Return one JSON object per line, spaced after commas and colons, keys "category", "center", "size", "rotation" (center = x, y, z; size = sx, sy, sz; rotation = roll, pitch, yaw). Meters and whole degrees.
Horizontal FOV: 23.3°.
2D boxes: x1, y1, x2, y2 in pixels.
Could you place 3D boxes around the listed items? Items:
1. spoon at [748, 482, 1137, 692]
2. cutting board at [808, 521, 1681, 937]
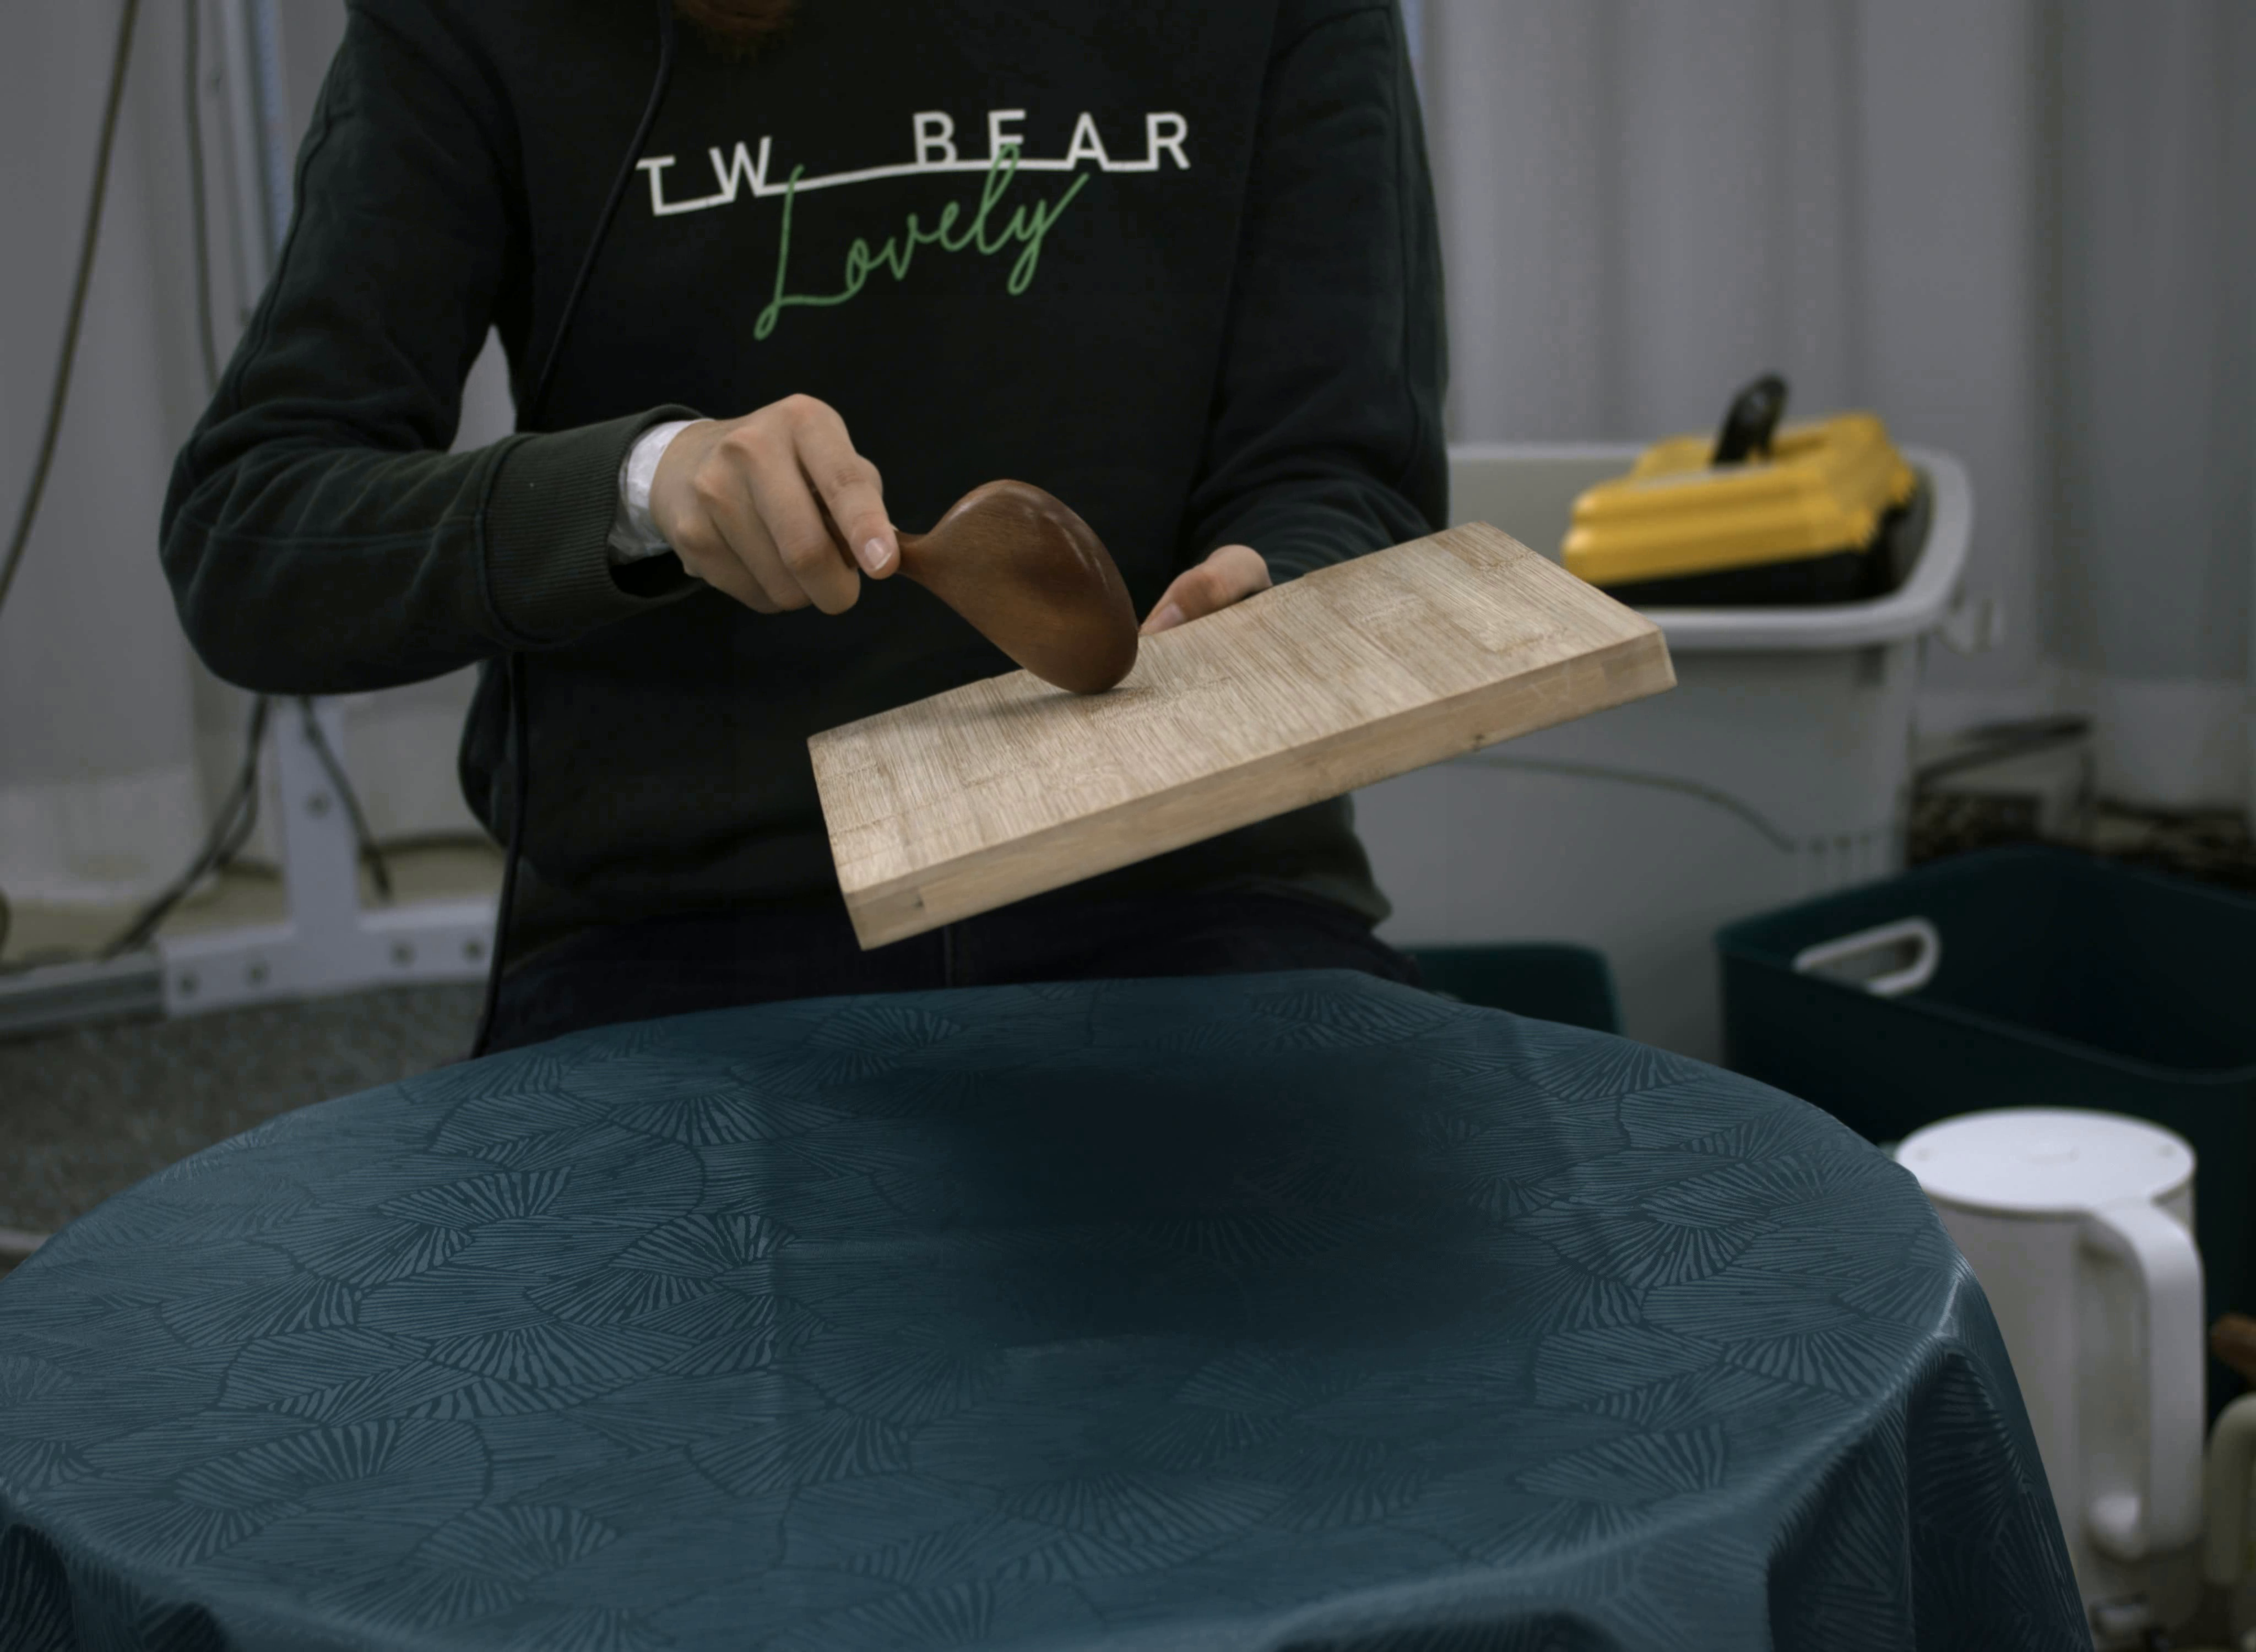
{"category": "spoon", "center": [-0.065, -0.085, 1.781], "size": [0.017, 0.075, 0.217], "rotation": [-34, 28, -24]}
{"category": "cutting board", "center": [0.023, -0.035, 1.685], "size": [0.250, 0.023, 0.350], "rotation": [-17, 9, -3]}
